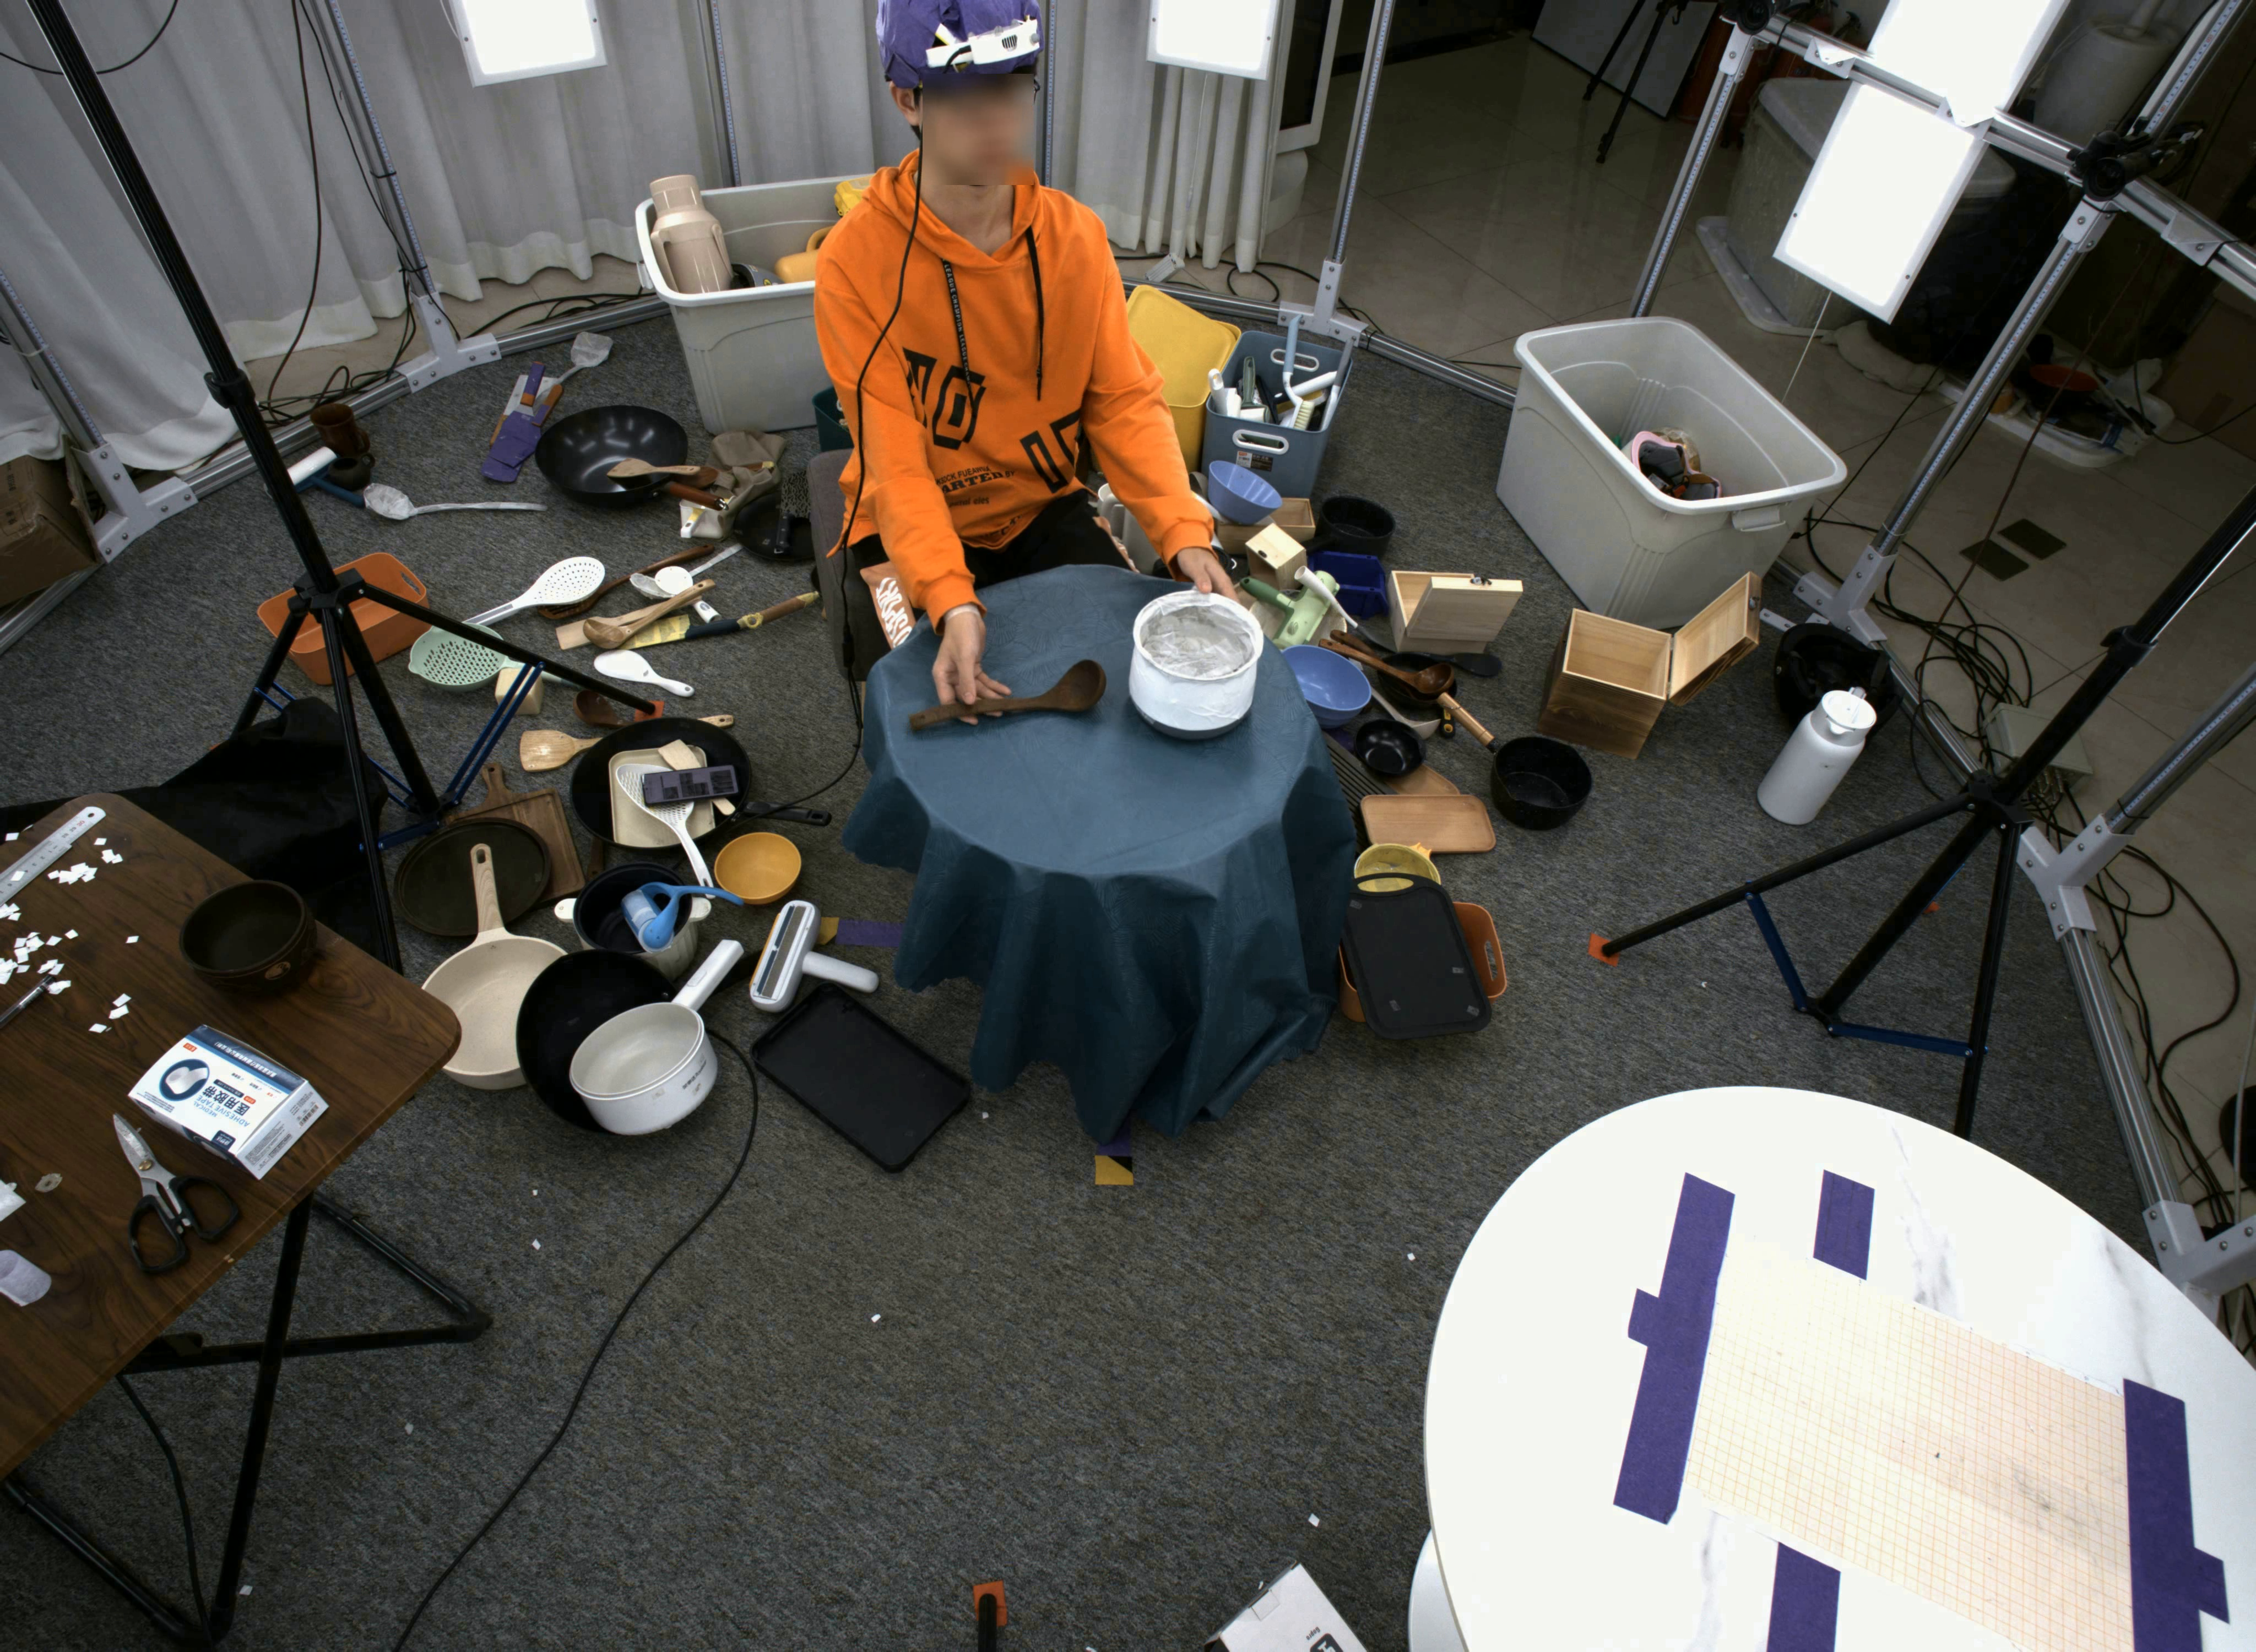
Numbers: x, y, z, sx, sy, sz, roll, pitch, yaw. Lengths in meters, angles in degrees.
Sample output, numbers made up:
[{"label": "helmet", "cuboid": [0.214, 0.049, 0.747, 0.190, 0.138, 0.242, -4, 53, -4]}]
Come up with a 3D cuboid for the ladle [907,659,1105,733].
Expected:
[{"label": "ladle", "cuboid": [-0.166, -0.177, 1.763, 0.274, 0.069, 0.078, -10, 52, -15]}]

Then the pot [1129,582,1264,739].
[{"label": "pot", "cuboid": [0.092, -0.240, 1.795, 0.178, 0.133, 0.239, 5, 49, -1]}]
